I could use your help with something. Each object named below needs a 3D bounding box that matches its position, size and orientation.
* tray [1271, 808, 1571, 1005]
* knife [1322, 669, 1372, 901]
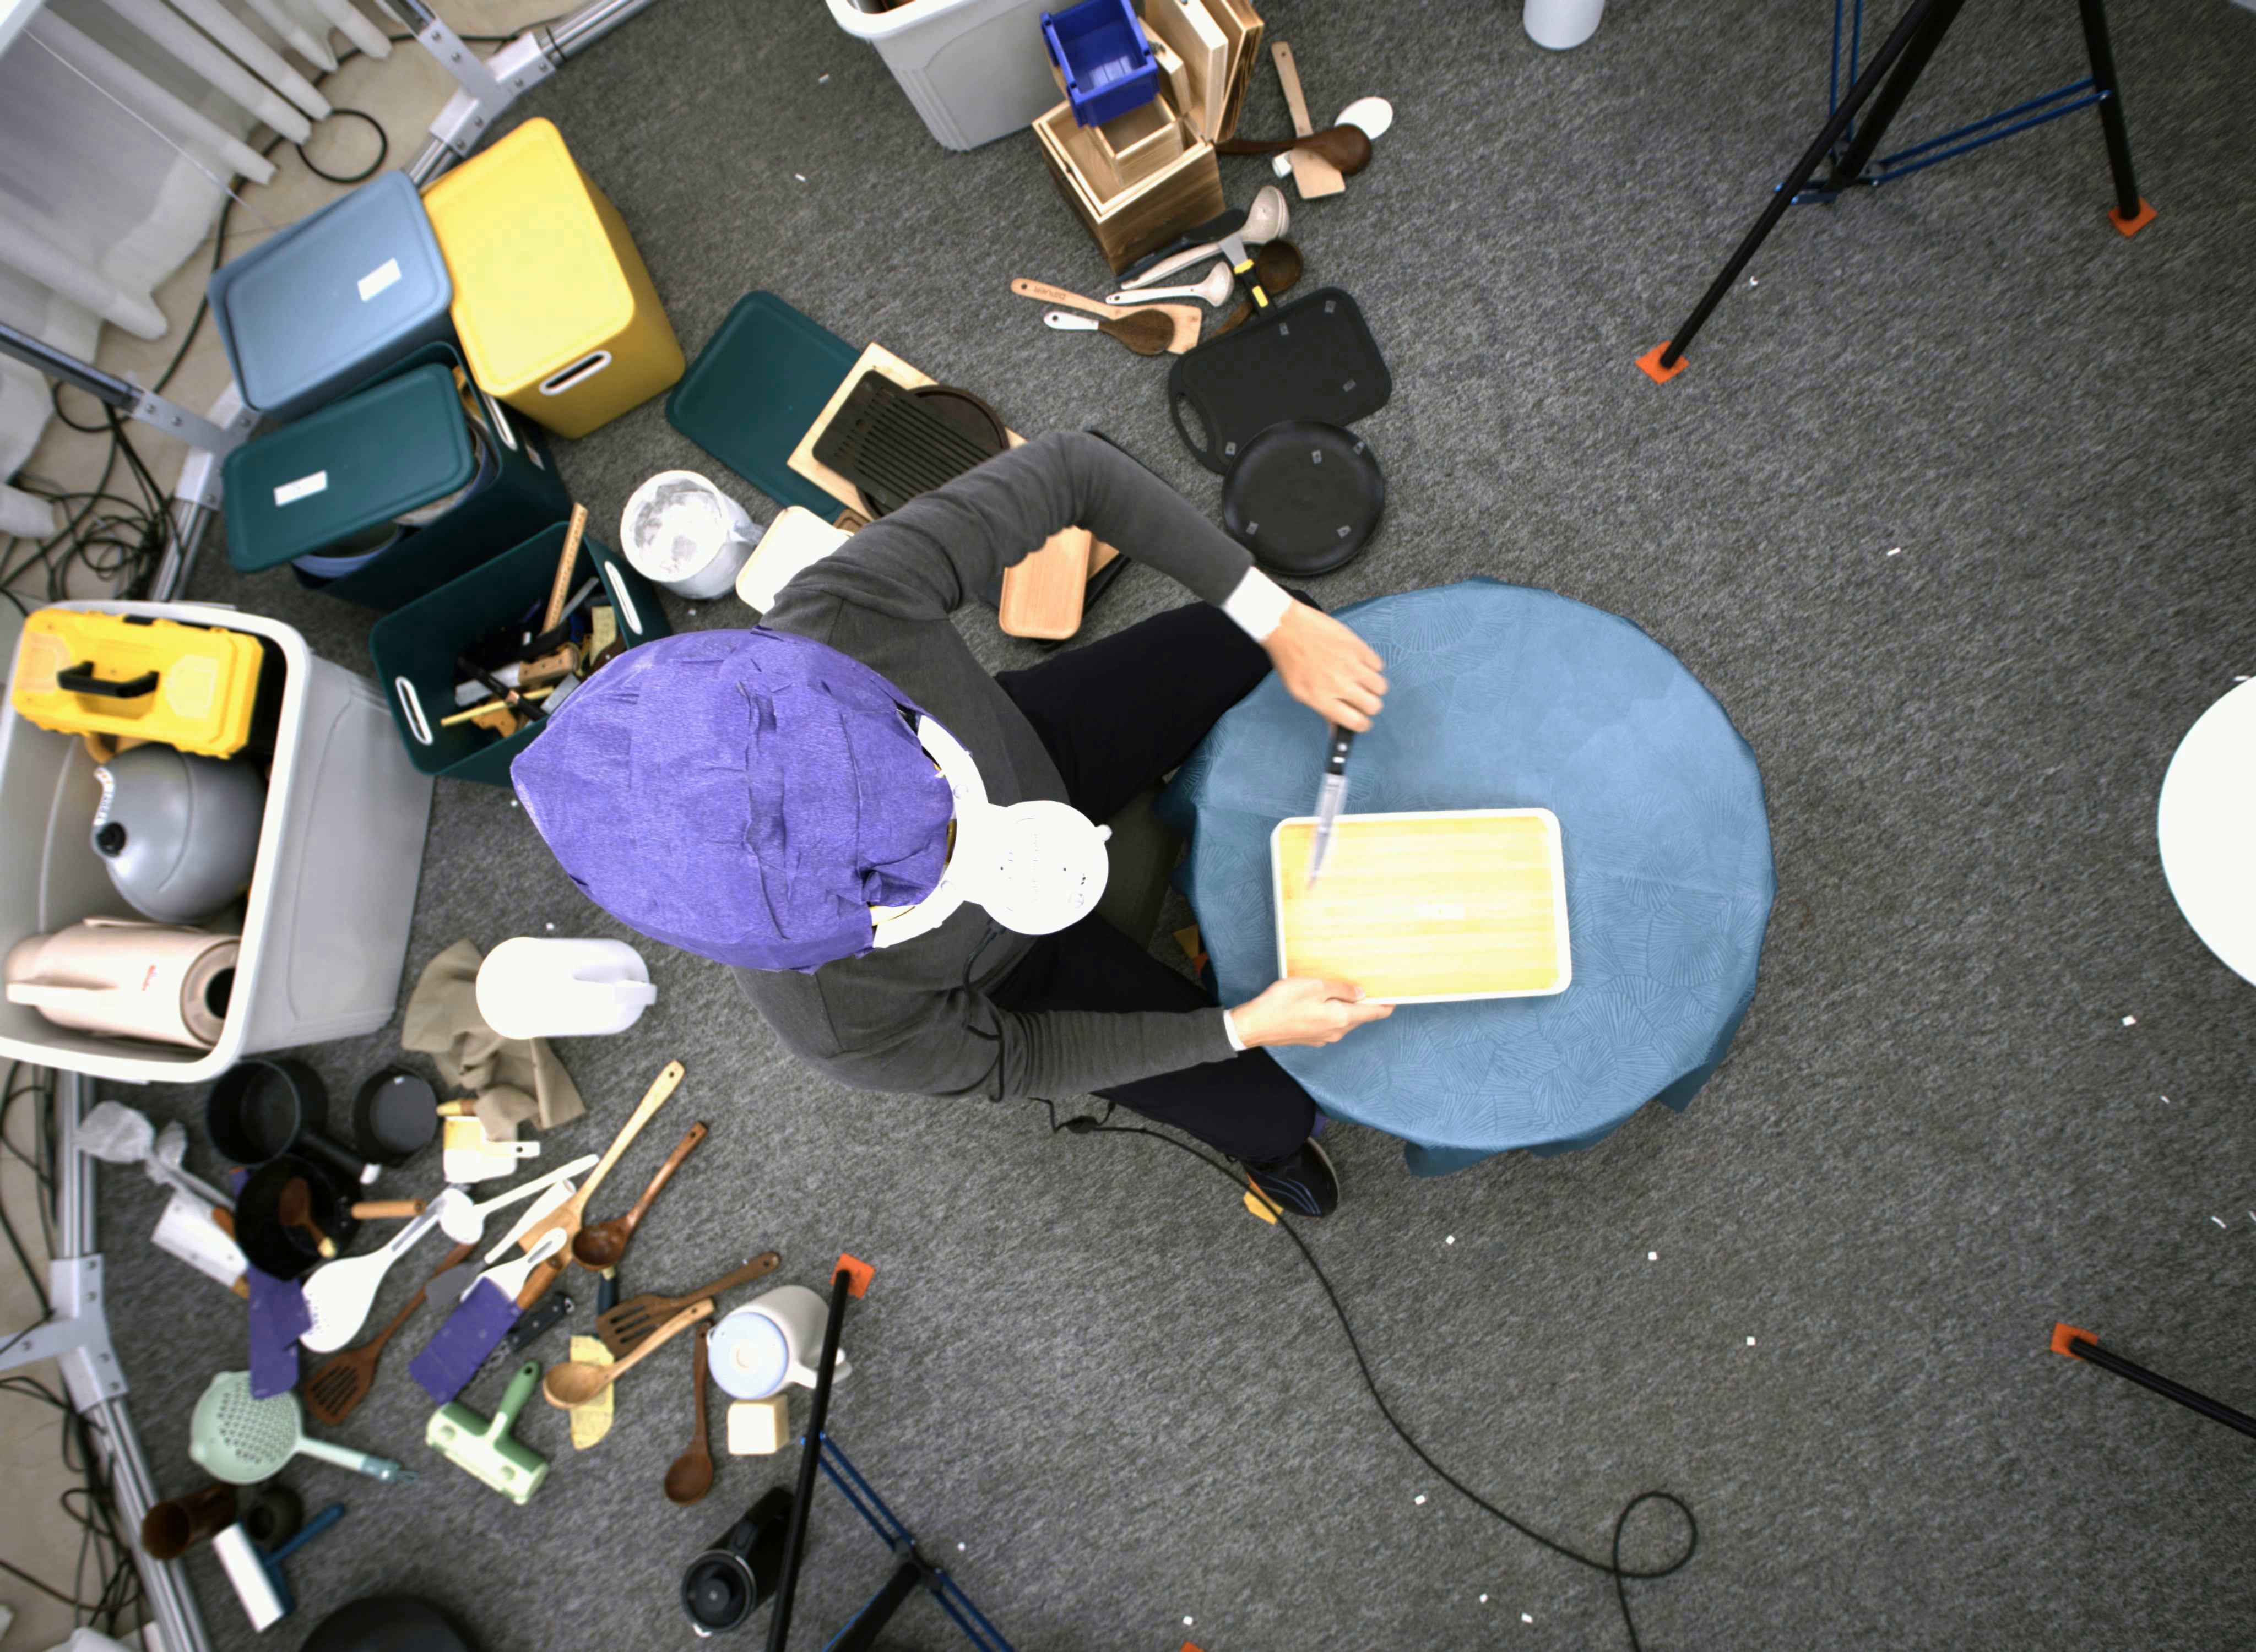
[{"bbox_3d":[0.298,0.079,1.402,0.300,0.027,0.190,-2,85,-5],"label":"tray"},{"bbox_3d":[0.211,-0.043,1.353,0.024,0.016,0.236,11,84,-4],"label":"knife"}]
